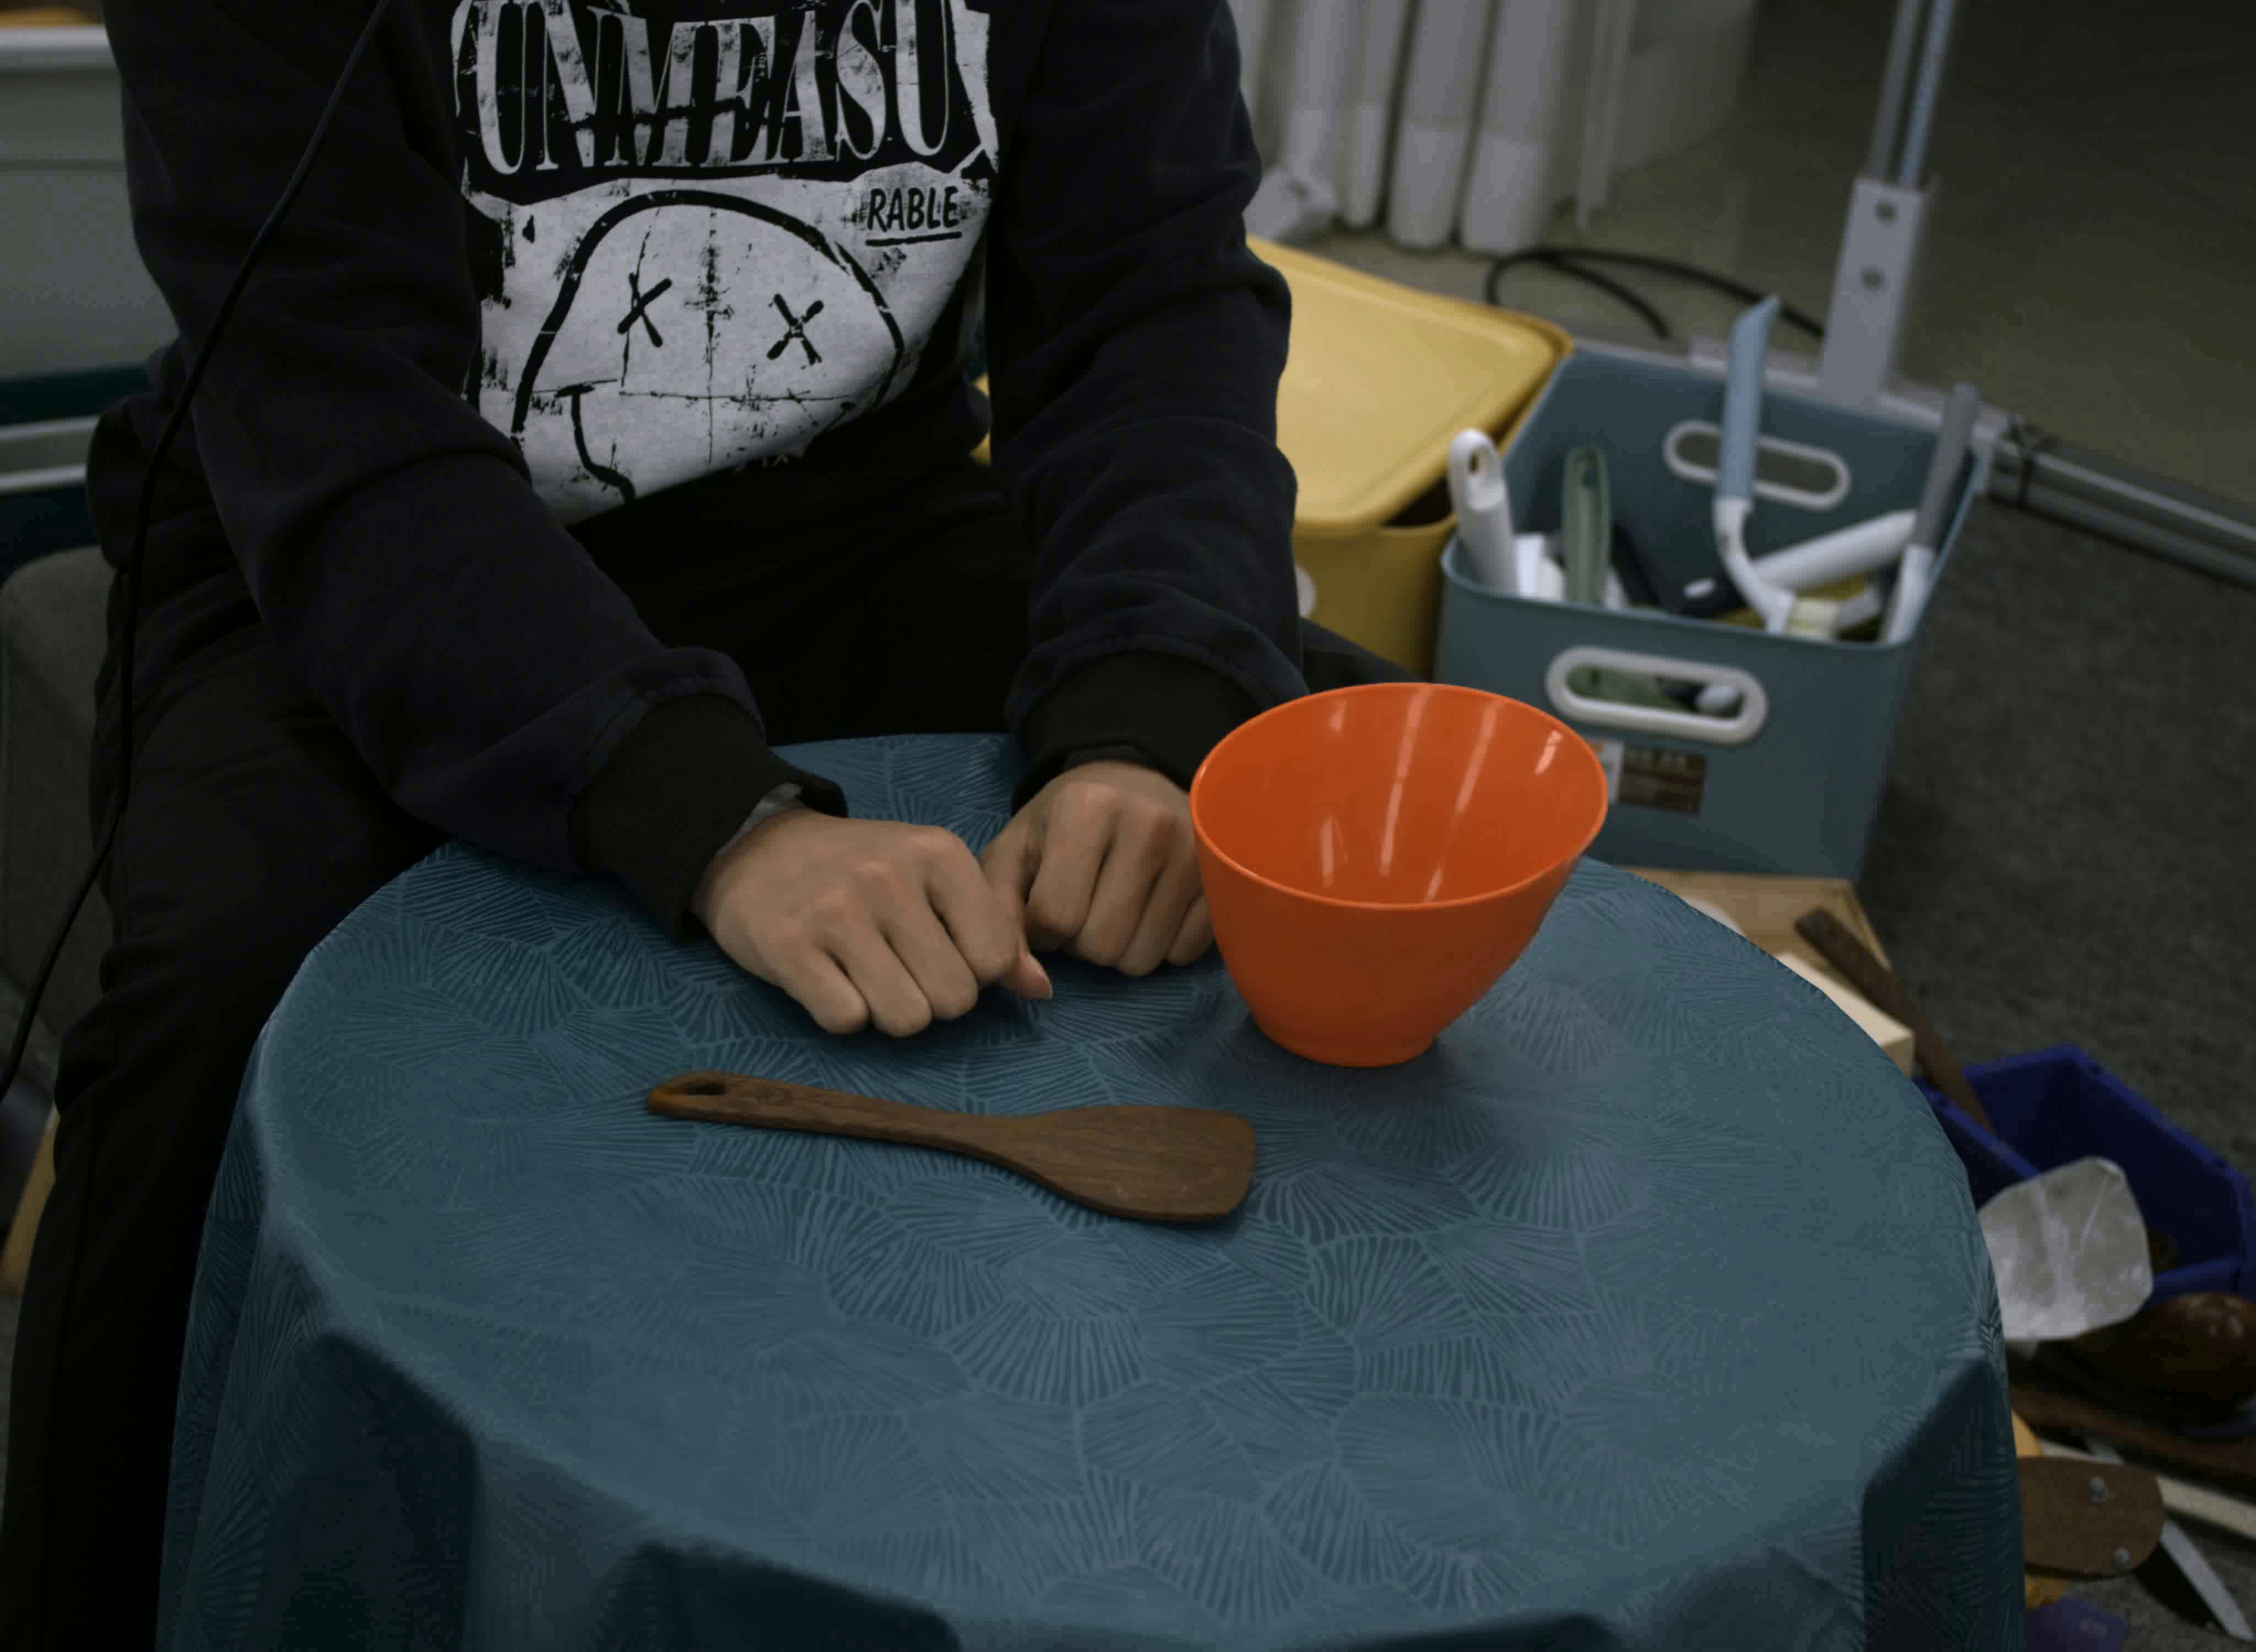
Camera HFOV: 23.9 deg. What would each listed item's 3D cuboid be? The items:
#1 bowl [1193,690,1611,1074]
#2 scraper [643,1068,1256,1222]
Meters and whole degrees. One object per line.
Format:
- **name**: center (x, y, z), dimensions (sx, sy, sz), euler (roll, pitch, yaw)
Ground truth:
- **bowl**: center (0.093, 0.026, 1.903), dimensions (0.147, 0.104, 0.149), euler (6, 27, -3)
- **scraper**: center (-0.061, 0.104, 1.816), dimensions (0.211, 0.011, 0.076), euler (8, 25, 4)
